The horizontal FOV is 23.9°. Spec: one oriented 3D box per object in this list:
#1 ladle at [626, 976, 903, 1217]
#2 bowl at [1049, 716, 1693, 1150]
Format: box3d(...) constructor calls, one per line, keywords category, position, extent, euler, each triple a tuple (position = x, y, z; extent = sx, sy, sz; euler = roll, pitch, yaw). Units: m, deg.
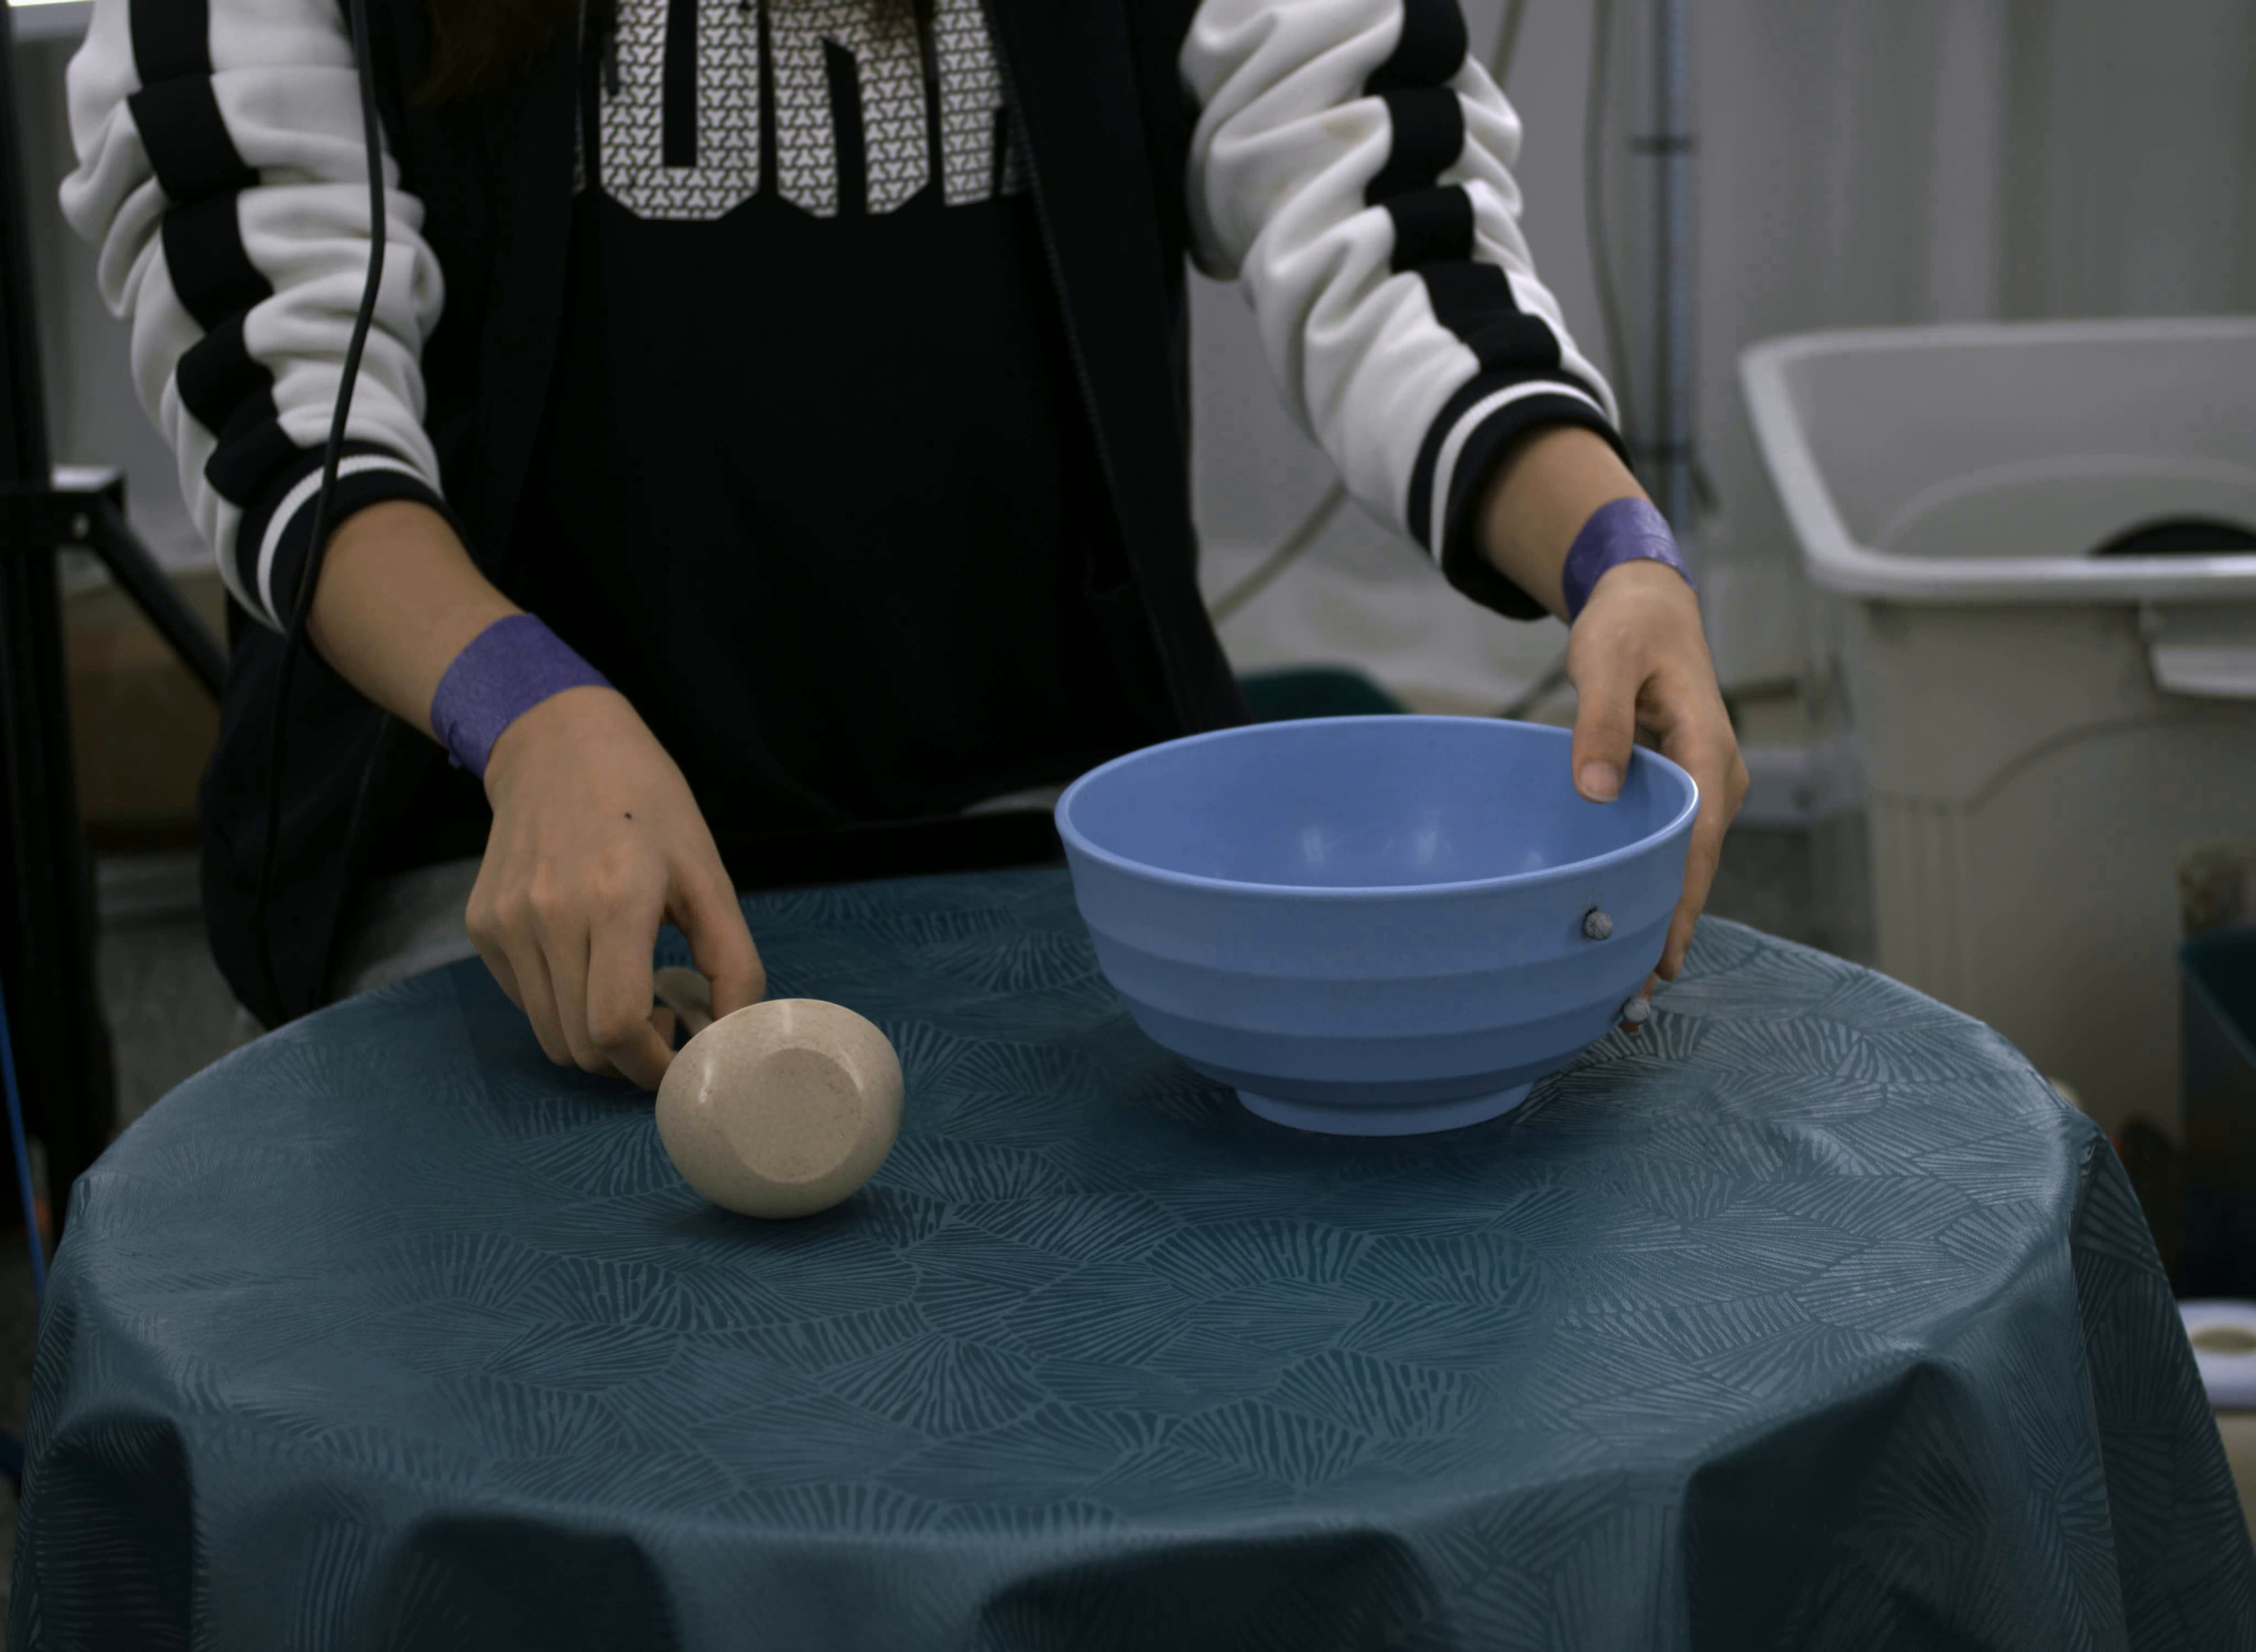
box3d(category="ladle", position=(-0.125, 0.053, 1.636), extent=(0.071, 0.073, 0.258), euler=(-4, 16, -14))
box3d(category="bowl", position=(0.076, 0.039, 1.626), extent=(0.195, 0.095, 0.197), euler=(-4, 17, 0))
